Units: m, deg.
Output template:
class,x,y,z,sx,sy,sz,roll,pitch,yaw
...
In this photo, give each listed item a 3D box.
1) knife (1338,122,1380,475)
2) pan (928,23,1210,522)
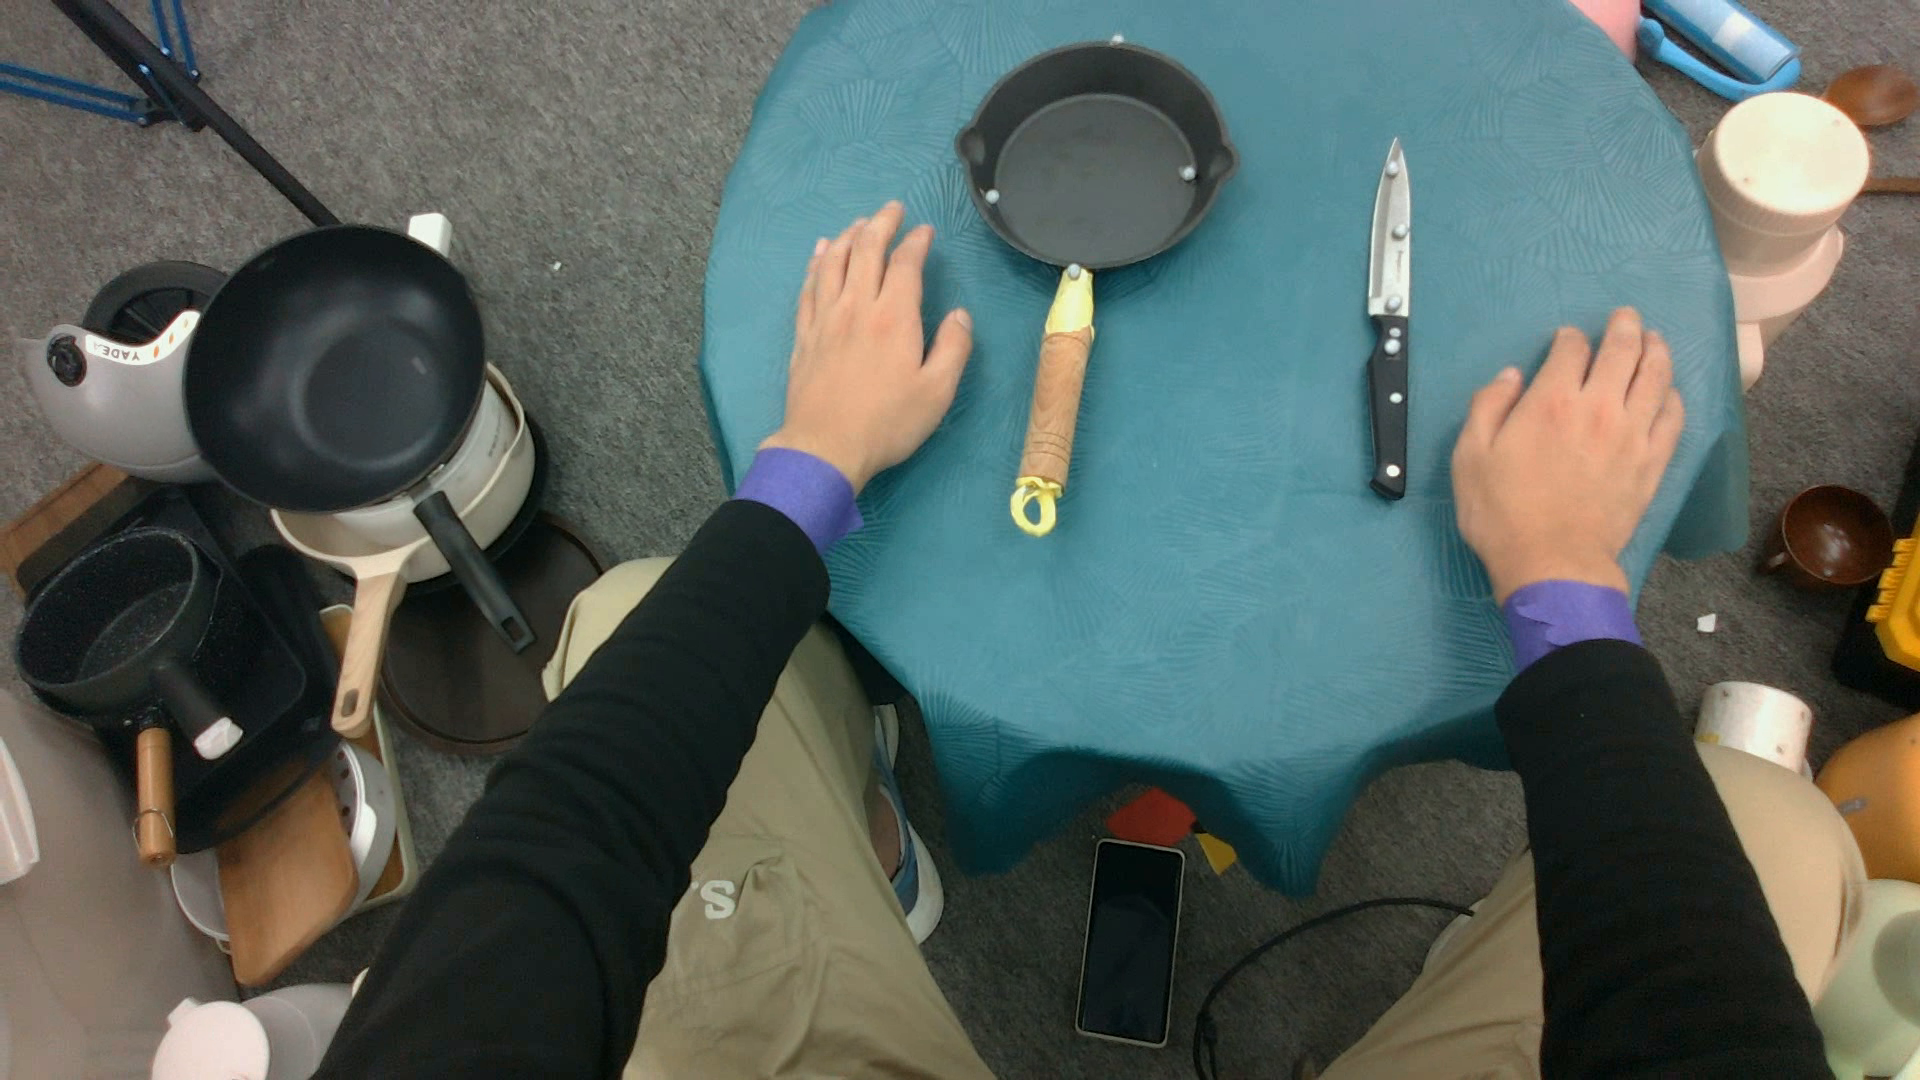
class,x,y,z,sx,sy,sz,roll,pitch,yaw
knife,0.232,-0.146,0.799,0.024,0.016,0.239,4,68,7
pan,0.049,-0.160,0.800,0.169,0.049,0.325,8,72,8
